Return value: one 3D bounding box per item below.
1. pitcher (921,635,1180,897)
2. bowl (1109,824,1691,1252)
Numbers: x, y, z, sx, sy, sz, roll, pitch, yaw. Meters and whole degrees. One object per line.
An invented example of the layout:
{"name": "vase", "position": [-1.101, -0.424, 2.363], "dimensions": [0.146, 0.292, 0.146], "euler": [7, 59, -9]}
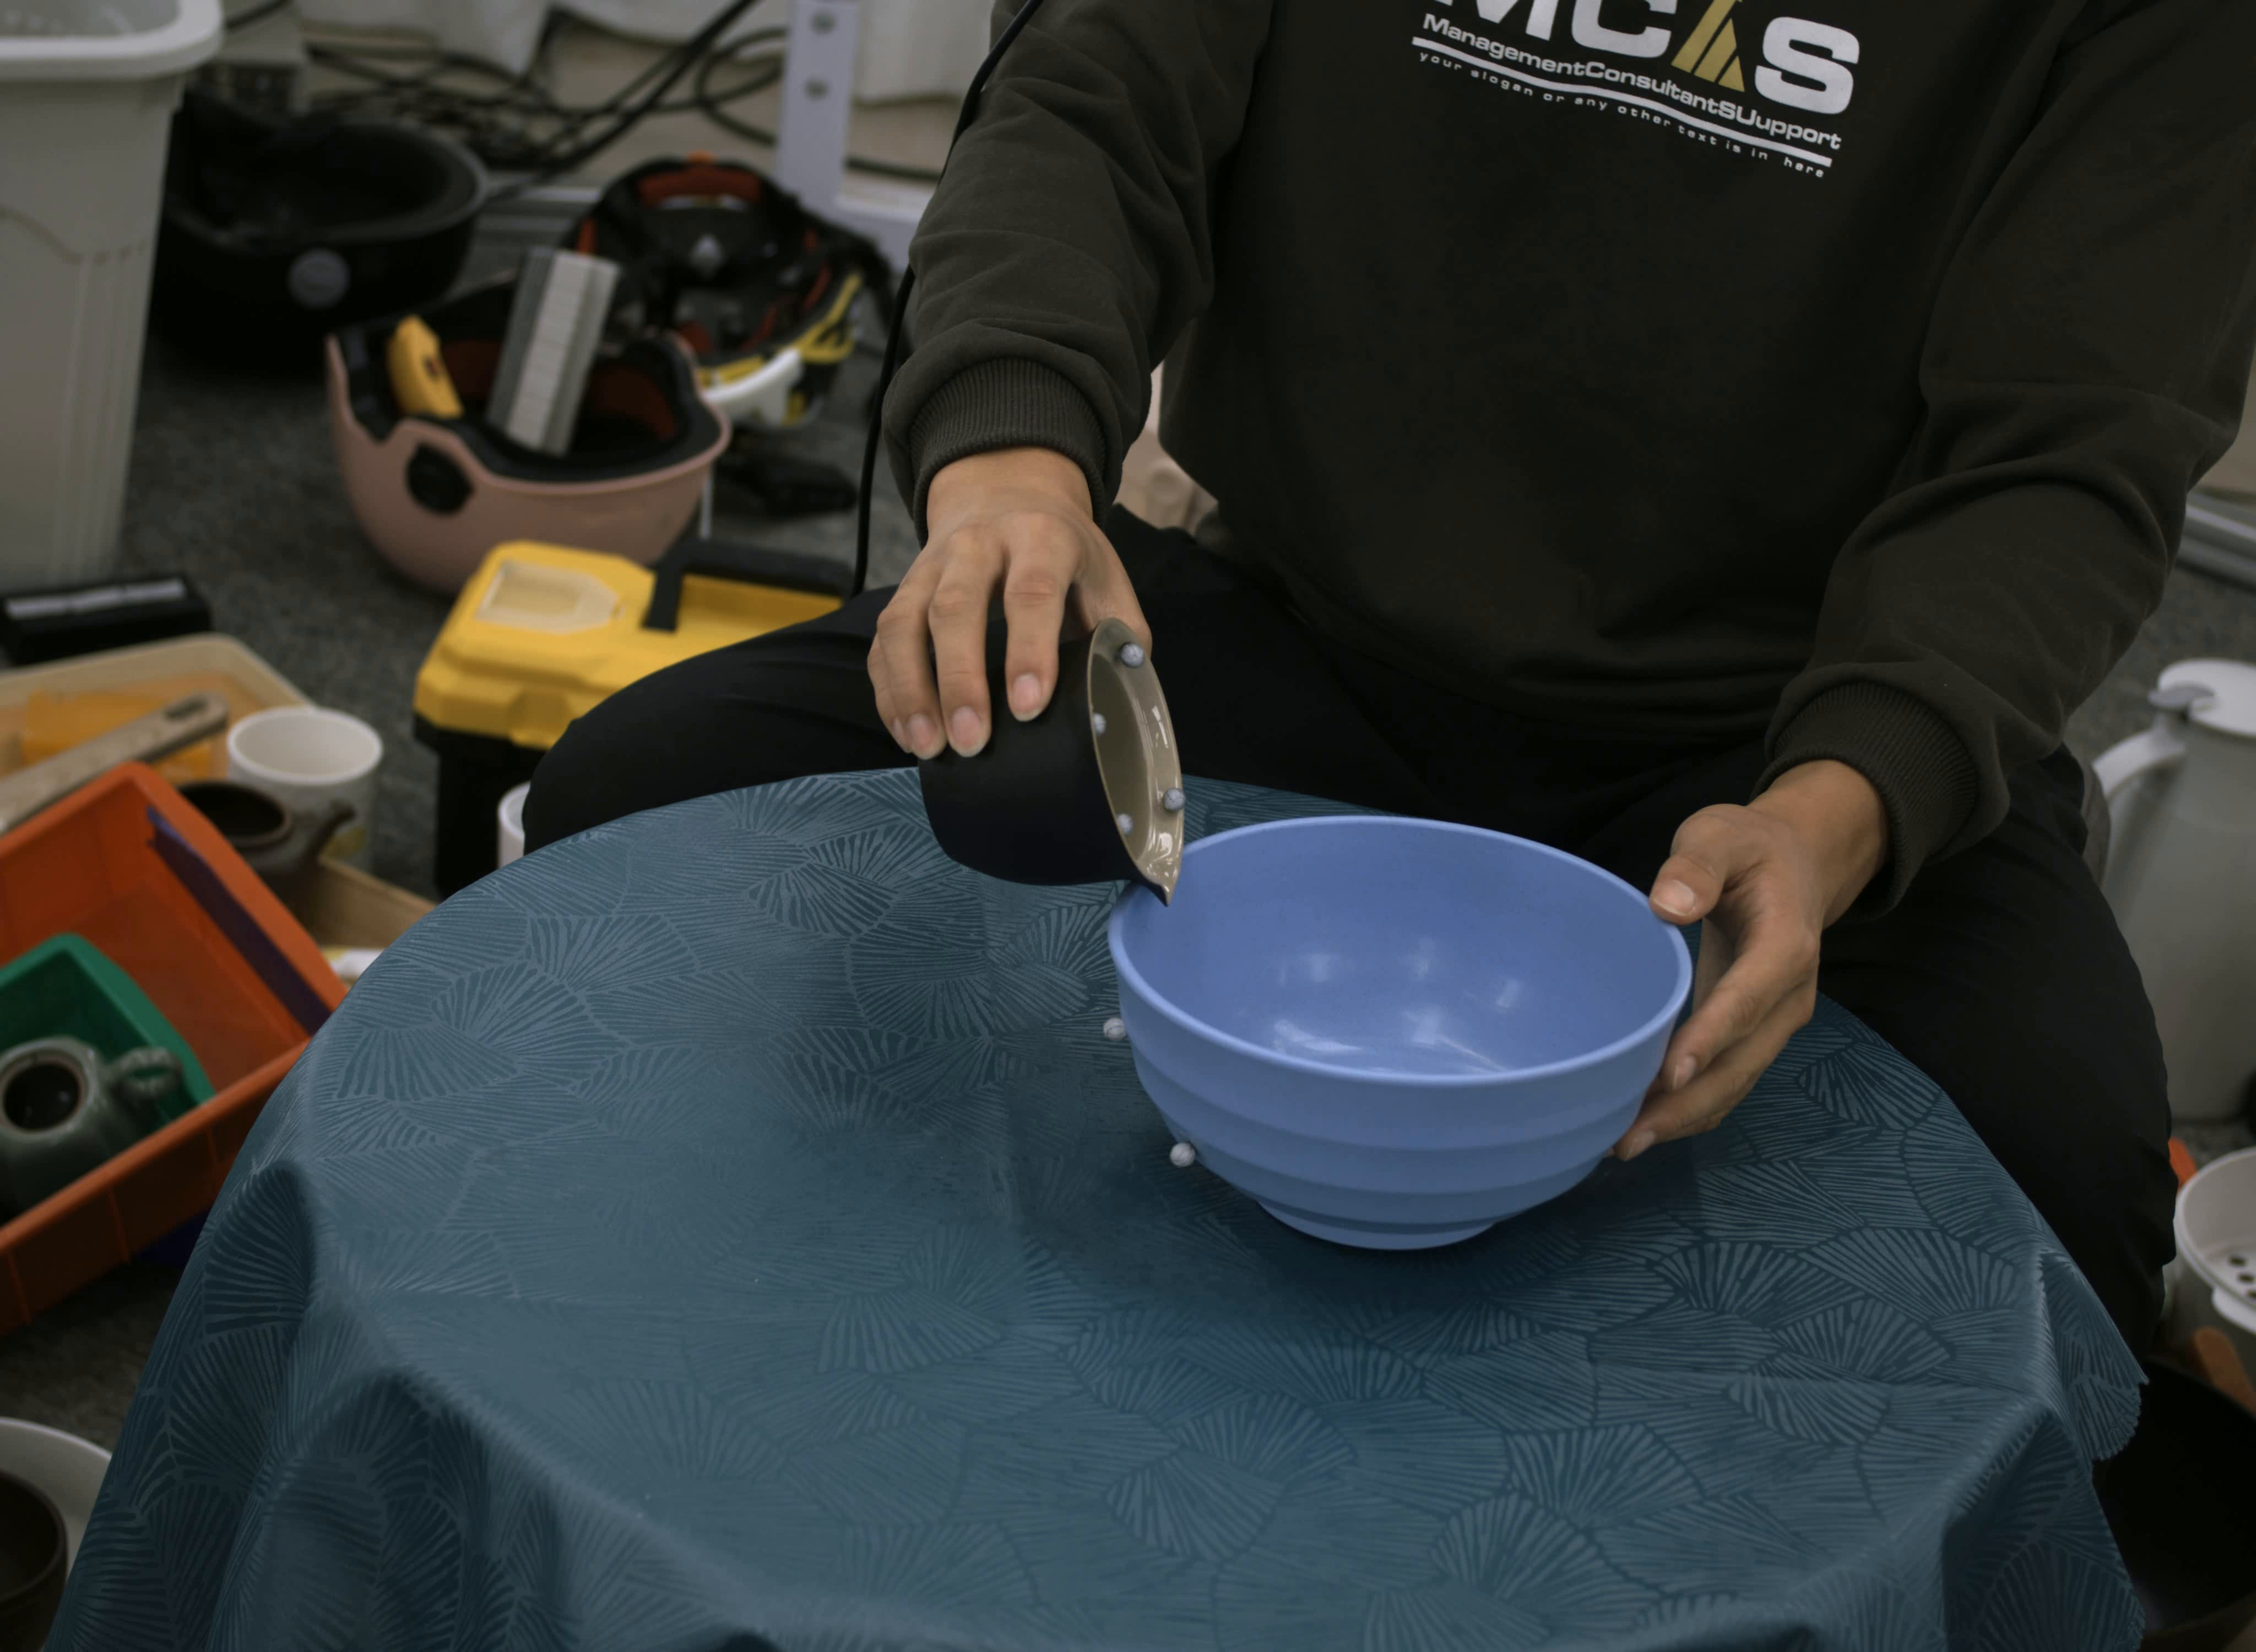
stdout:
{"name": "pitcher", "position": [-0.028, -0.014, 1.815], "dimensions": [0.071, 0.096, 0.084], "euler": [-12, 14, 16]}
{"name": "bowl", "position": [0.088, 0.082, 1.804], "dimensions": [0.196, 0.095, 0.197], "euler": [3, 24, -2]}
